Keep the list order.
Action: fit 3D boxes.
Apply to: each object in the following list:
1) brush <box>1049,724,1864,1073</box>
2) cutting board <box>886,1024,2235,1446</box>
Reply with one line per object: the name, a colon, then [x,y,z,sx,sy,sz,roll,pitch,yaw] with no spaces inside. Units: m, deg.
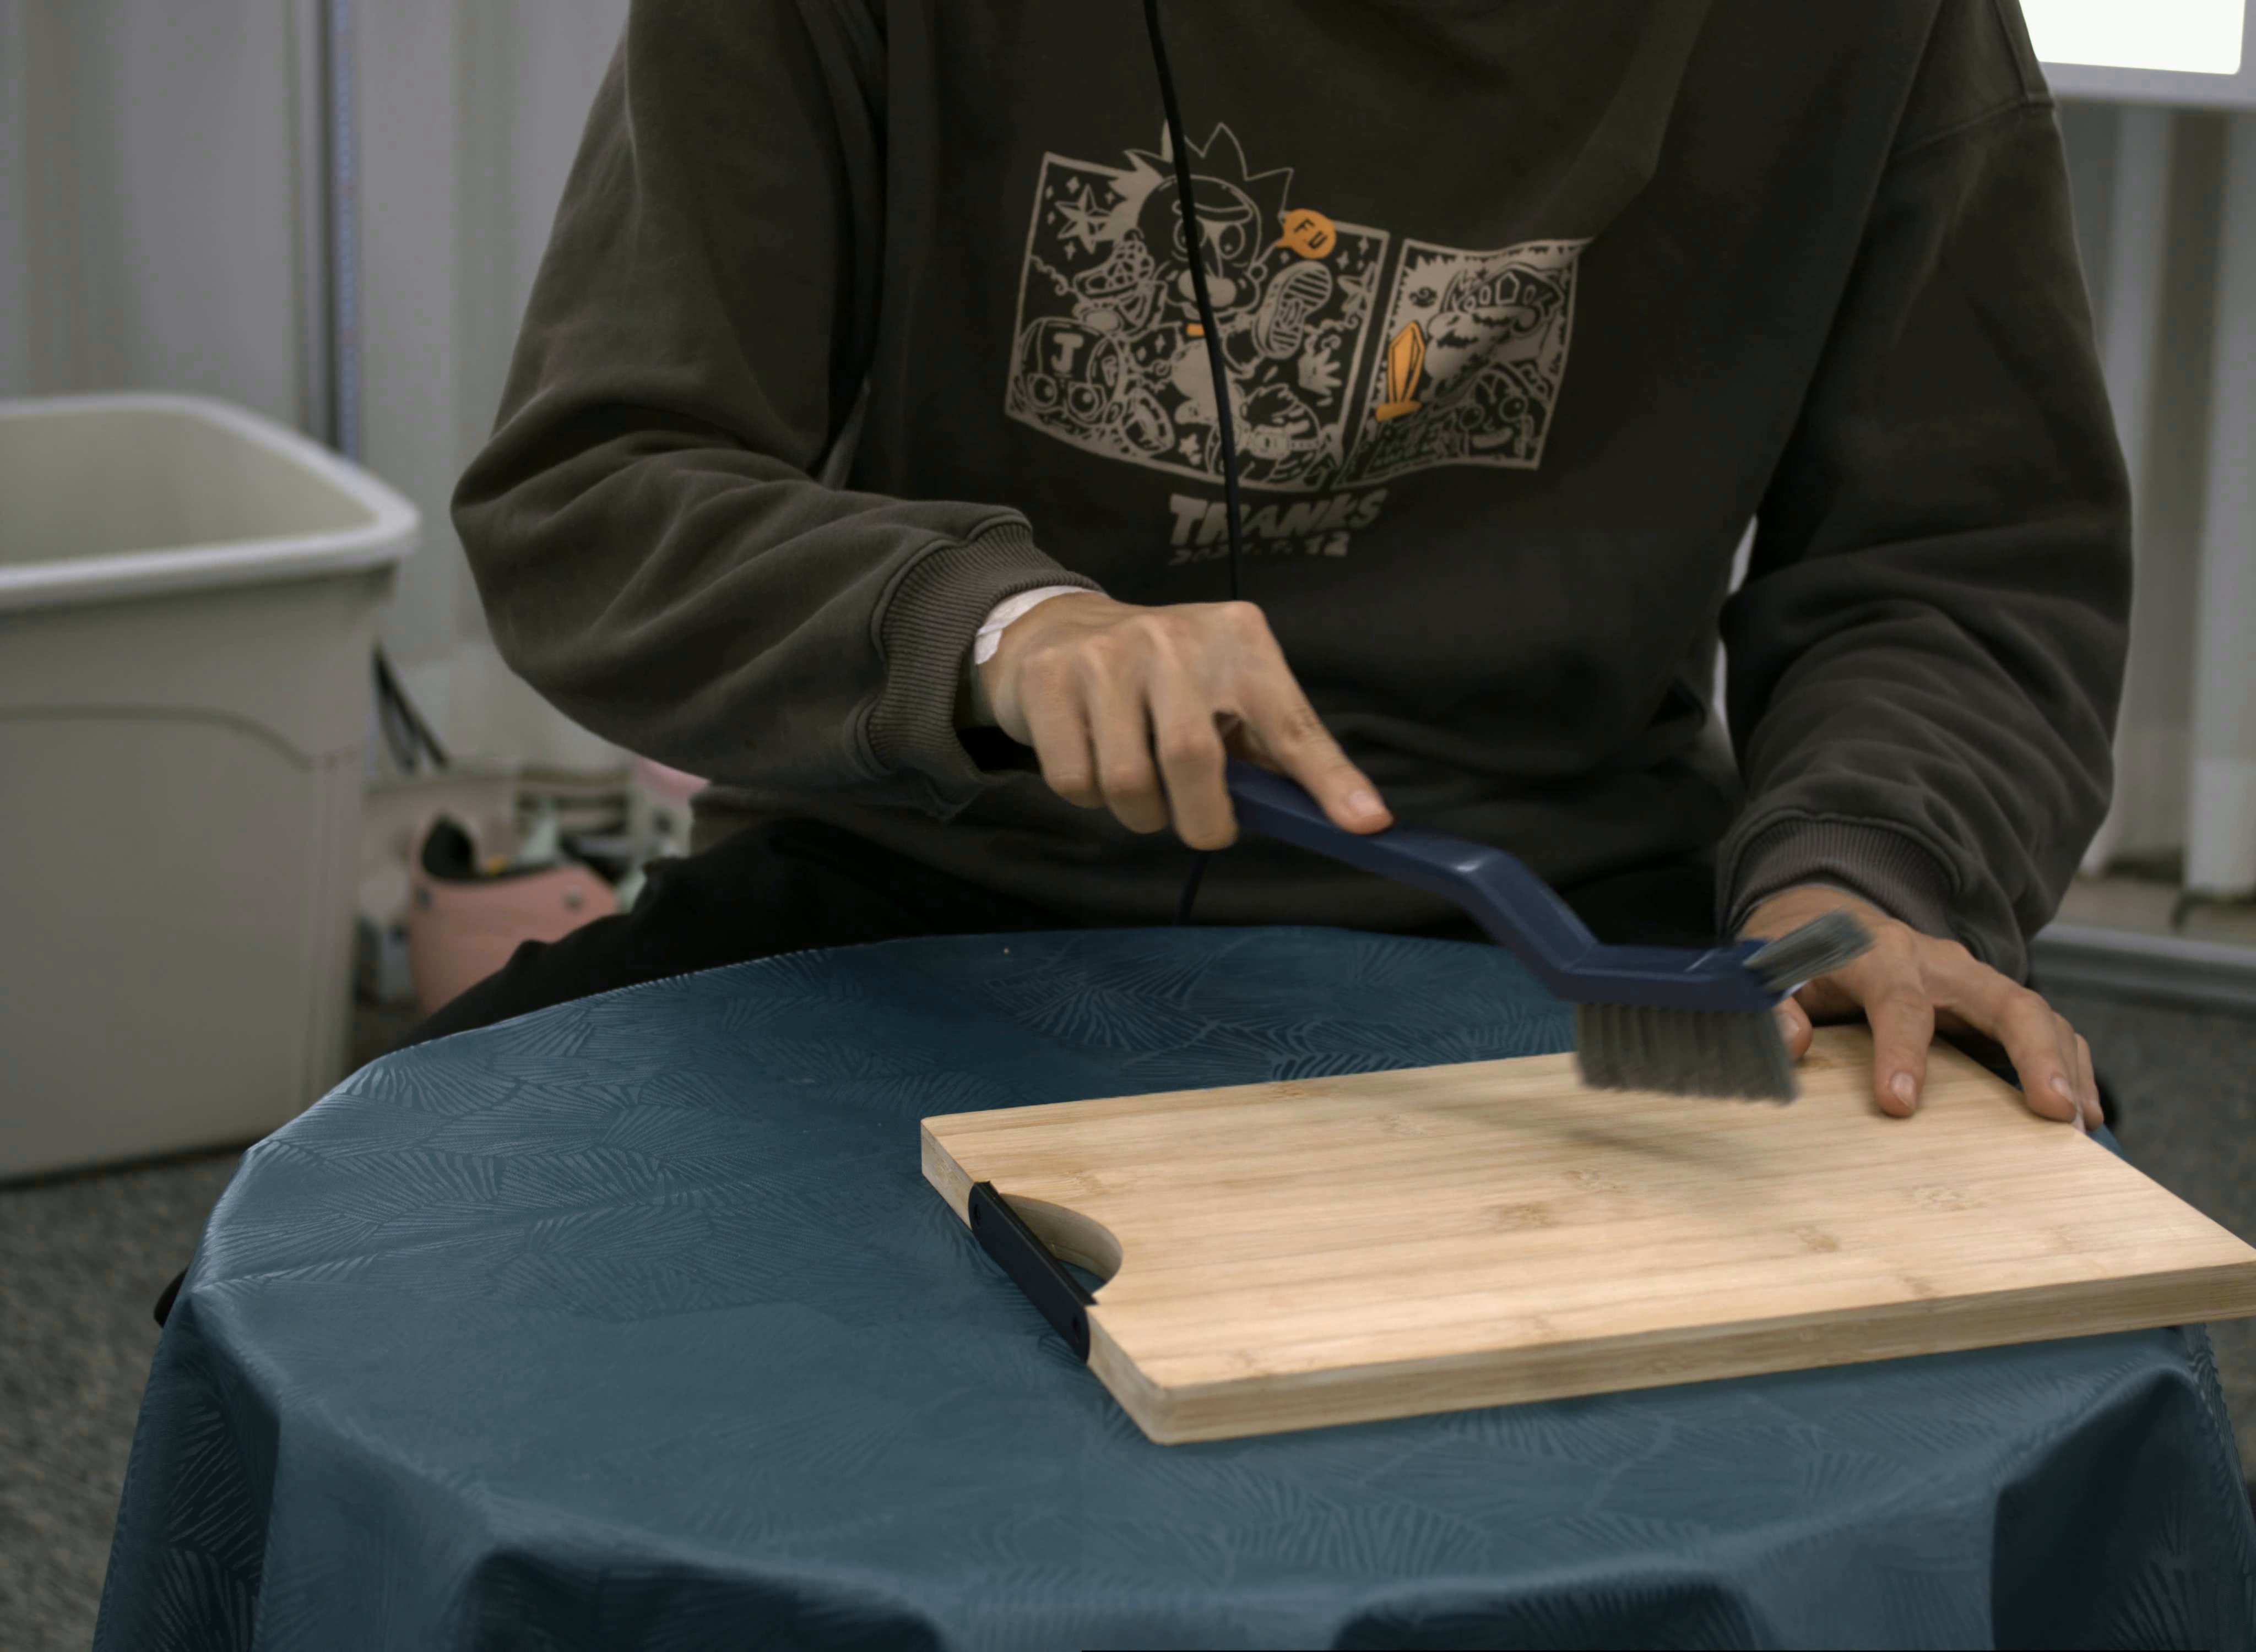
brush: [0.098,0.005,1.639,0.270,0.096,0.033,26,36,21]
cutting board: [0.126,0.118,1.586,0.349,0.024,0.248,-5,16,-19]
